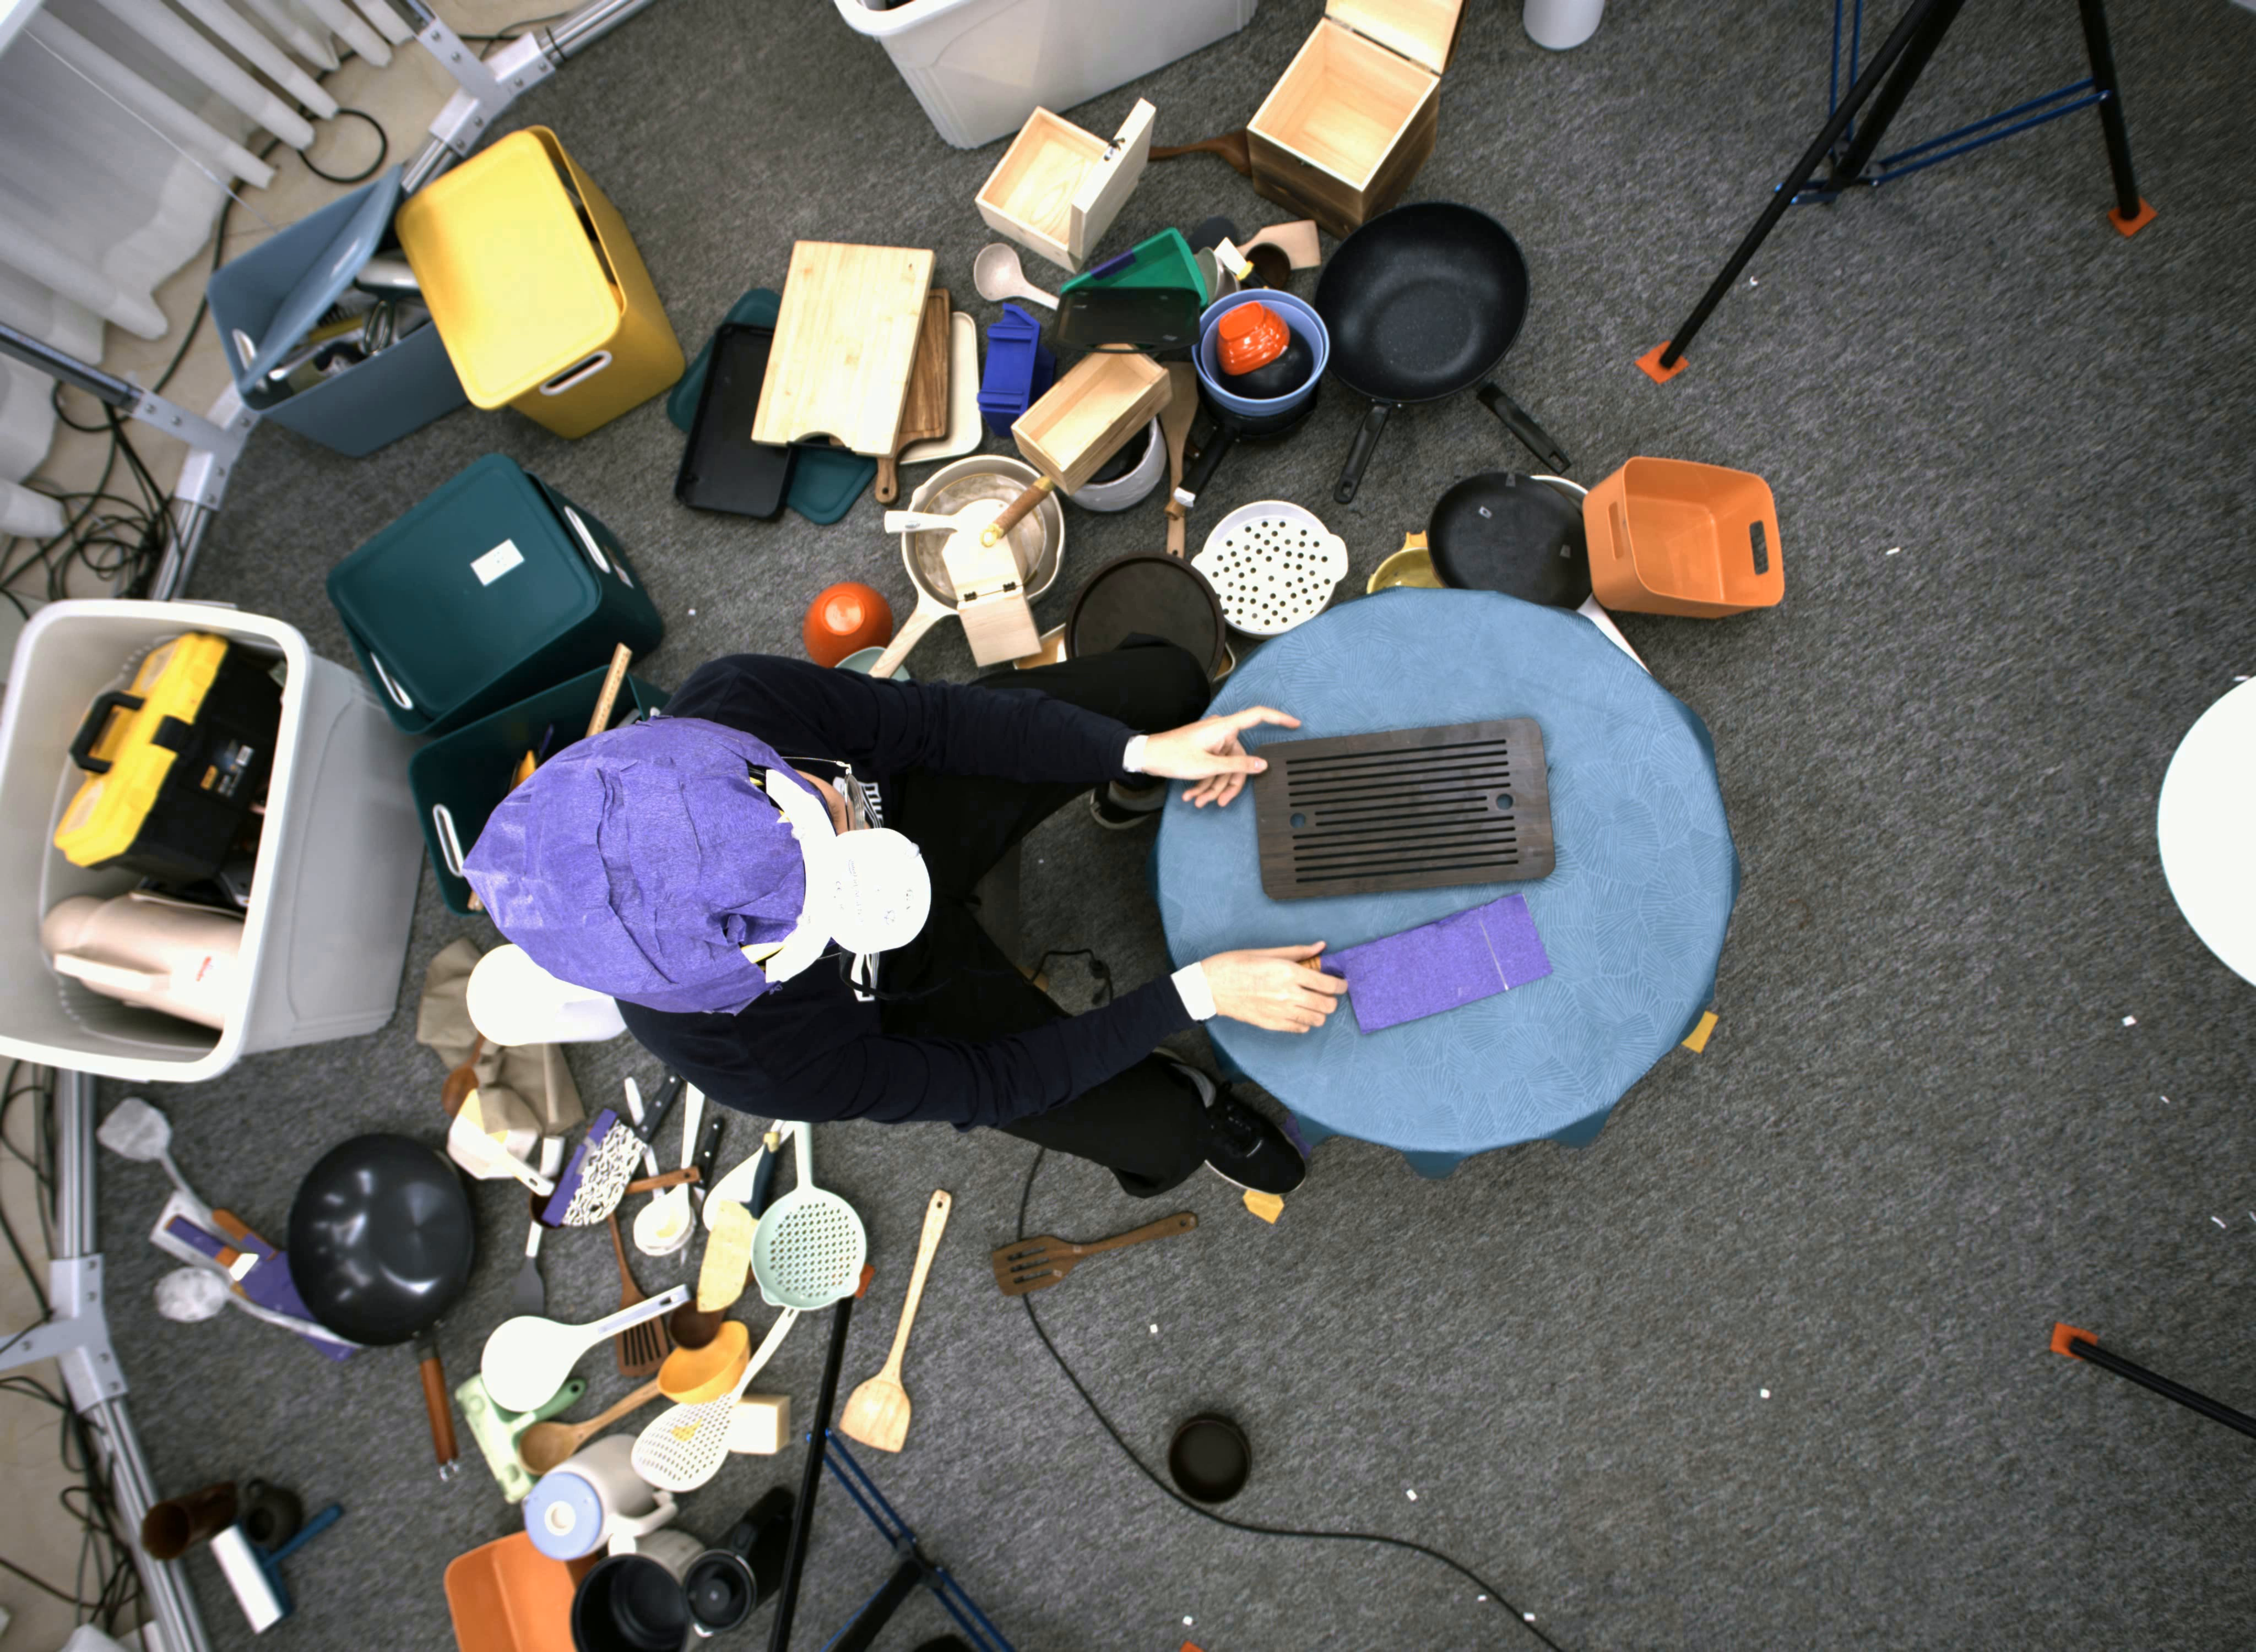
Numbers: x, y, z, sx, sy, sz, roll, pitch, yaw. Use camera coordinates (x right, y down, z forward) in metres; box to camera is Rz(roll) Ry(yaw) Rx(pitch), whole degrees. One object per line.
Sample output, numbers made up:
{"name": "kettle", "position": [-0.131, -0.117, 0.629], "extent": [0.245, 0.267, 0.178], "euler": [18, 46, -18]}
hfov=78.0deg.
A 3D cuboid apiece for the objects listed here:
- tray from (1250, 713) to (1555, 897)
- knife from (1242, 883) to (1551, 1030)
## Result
{"name": "tray", "position": [0.287, -0.022, 1.453], "extent": [0.307, 0.018, 0.169], "euler": [-6, 86, 11]}
{"name": "knife", "position": [0.280, 0.155, 1.440], "extent": [0.317, 0.032, 0.103], "euler": [-20, 83, 9]}
